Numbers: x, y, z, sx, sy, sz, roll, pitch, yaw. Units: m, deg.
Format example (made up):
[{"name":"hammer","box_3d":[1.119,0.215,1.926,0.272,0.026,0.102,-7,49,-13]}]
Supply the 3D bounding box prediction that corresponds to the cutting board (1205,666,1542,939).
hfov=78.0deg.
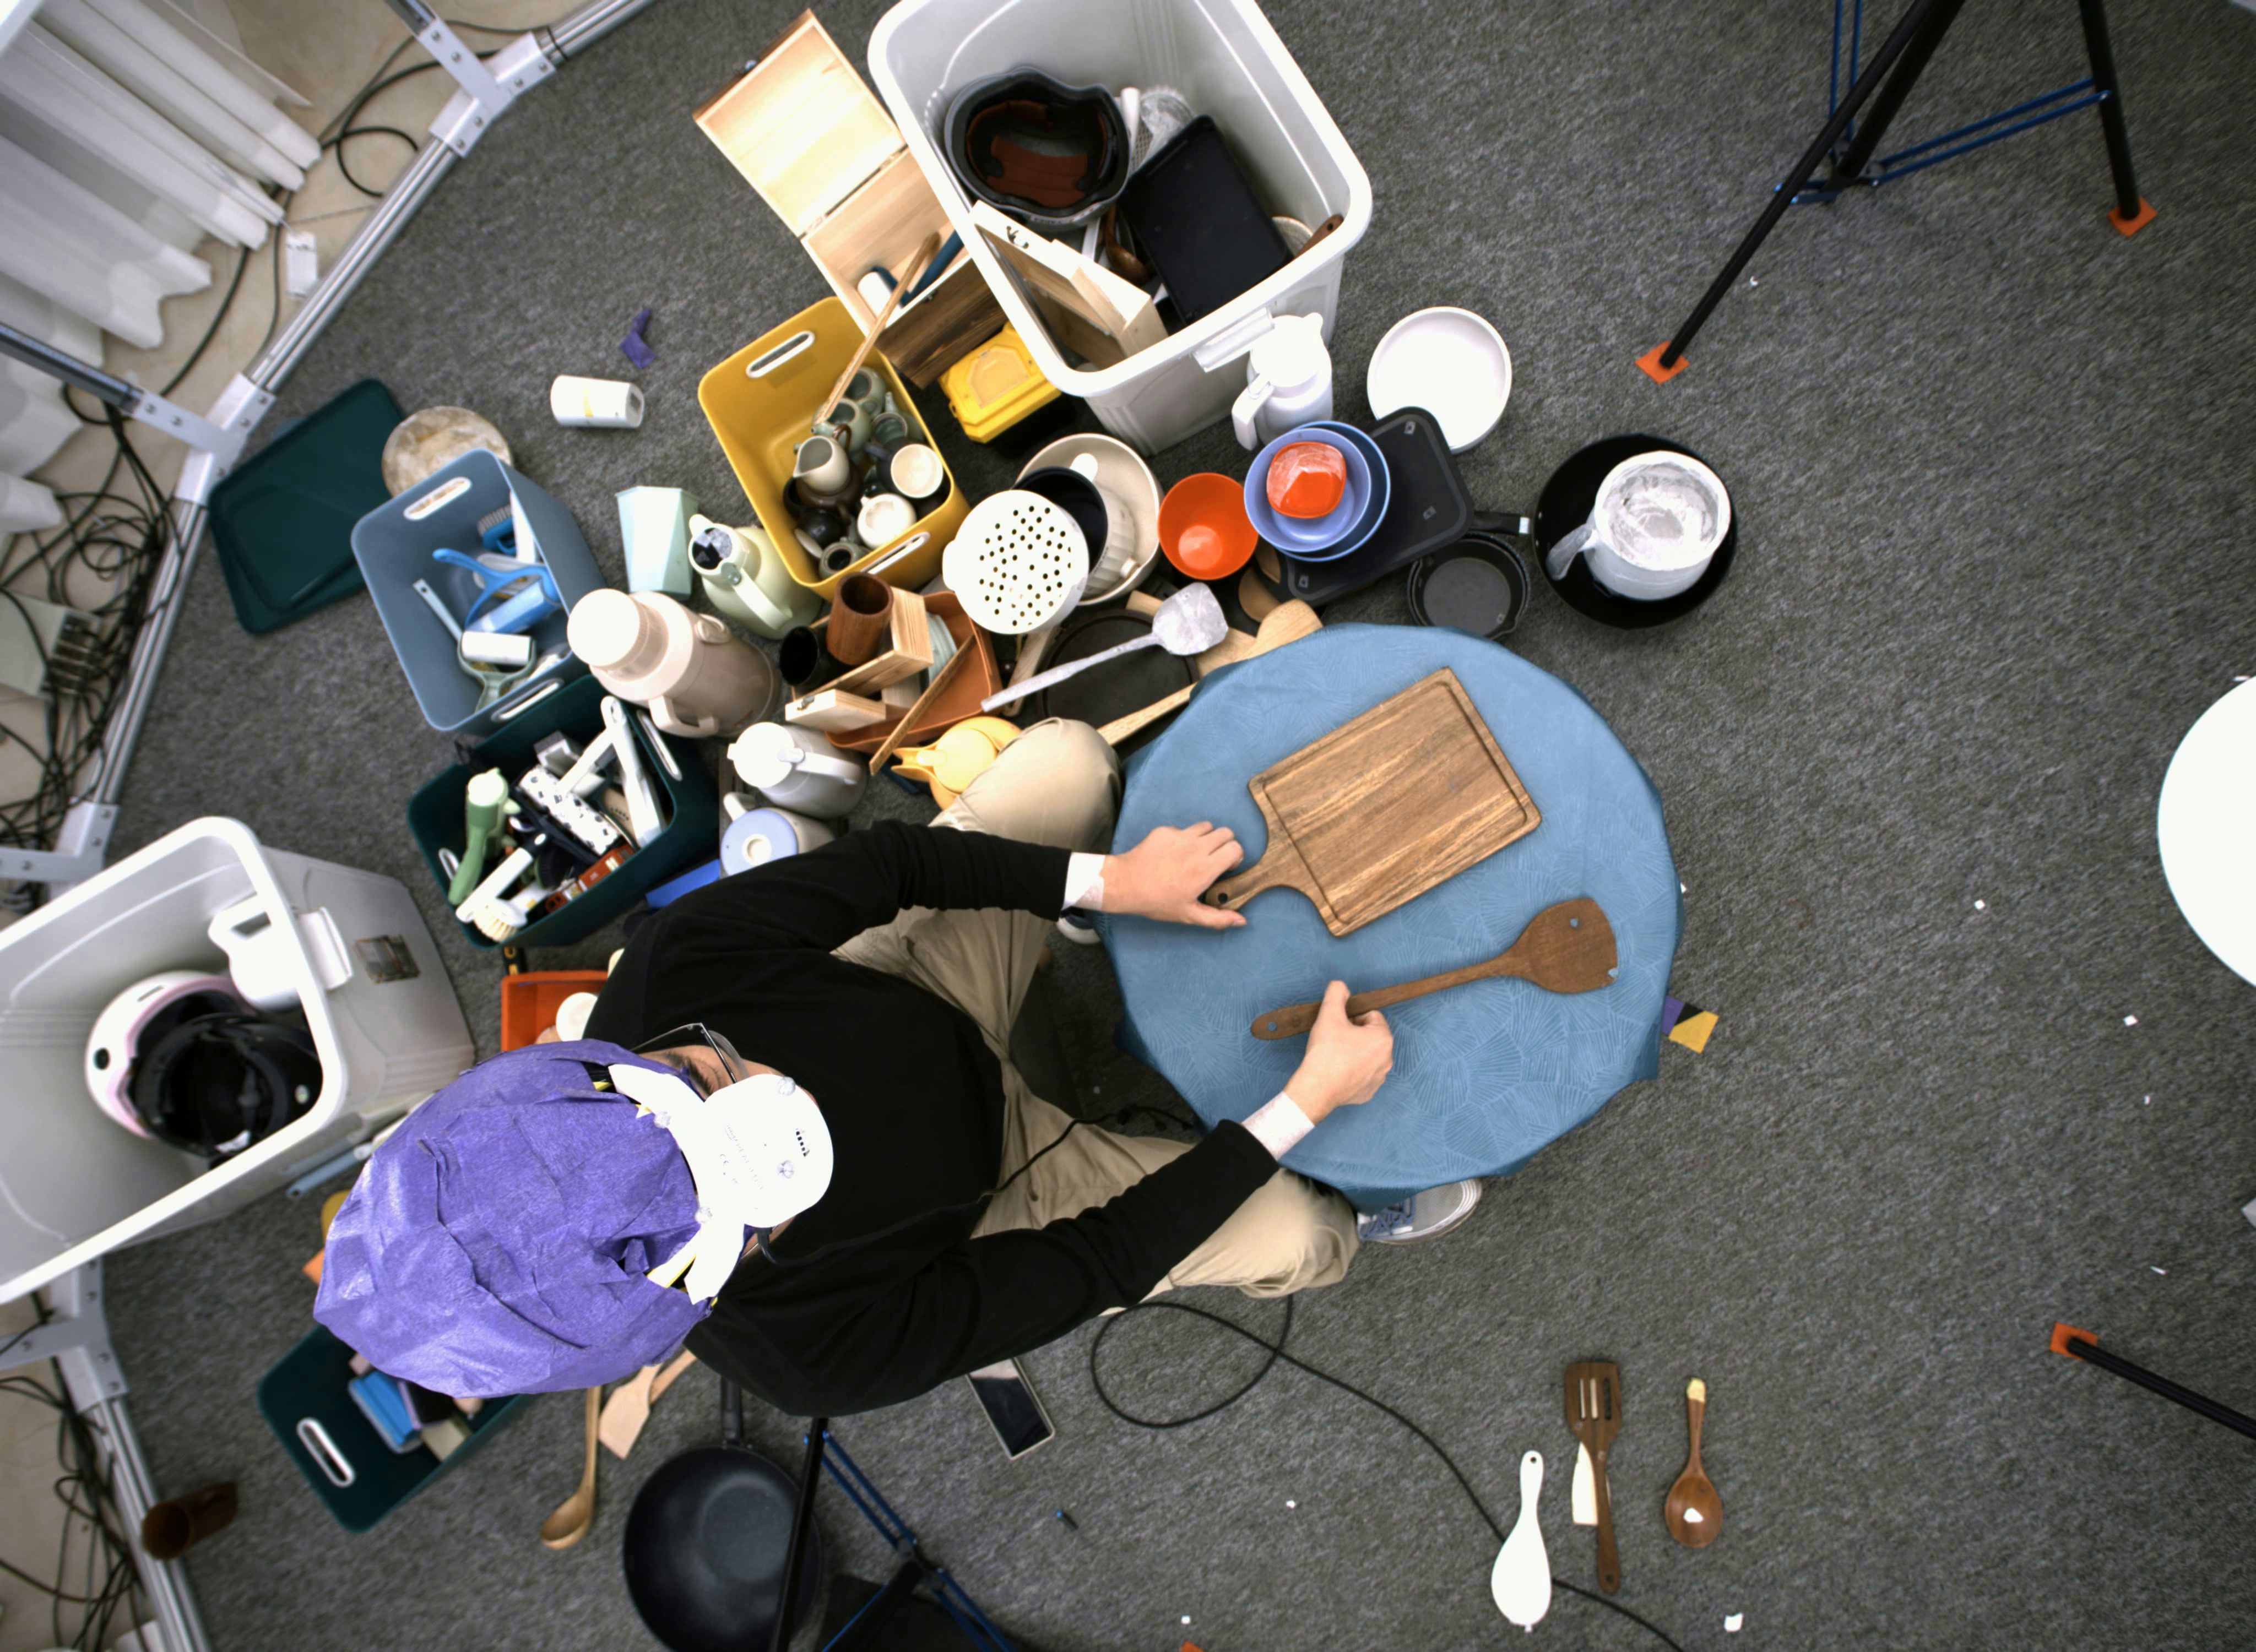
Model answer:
[{"name":"cutting board","box_3d":[0.235,-0.002,1.460,0.354,0.023,0.200,-31,82,8]}]

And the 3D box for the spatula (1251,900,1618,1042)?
[{"name":"spatula","box_3d":[0.314,0.162,1.420,0.386,0.016,0.096,-15,87,1]}]
